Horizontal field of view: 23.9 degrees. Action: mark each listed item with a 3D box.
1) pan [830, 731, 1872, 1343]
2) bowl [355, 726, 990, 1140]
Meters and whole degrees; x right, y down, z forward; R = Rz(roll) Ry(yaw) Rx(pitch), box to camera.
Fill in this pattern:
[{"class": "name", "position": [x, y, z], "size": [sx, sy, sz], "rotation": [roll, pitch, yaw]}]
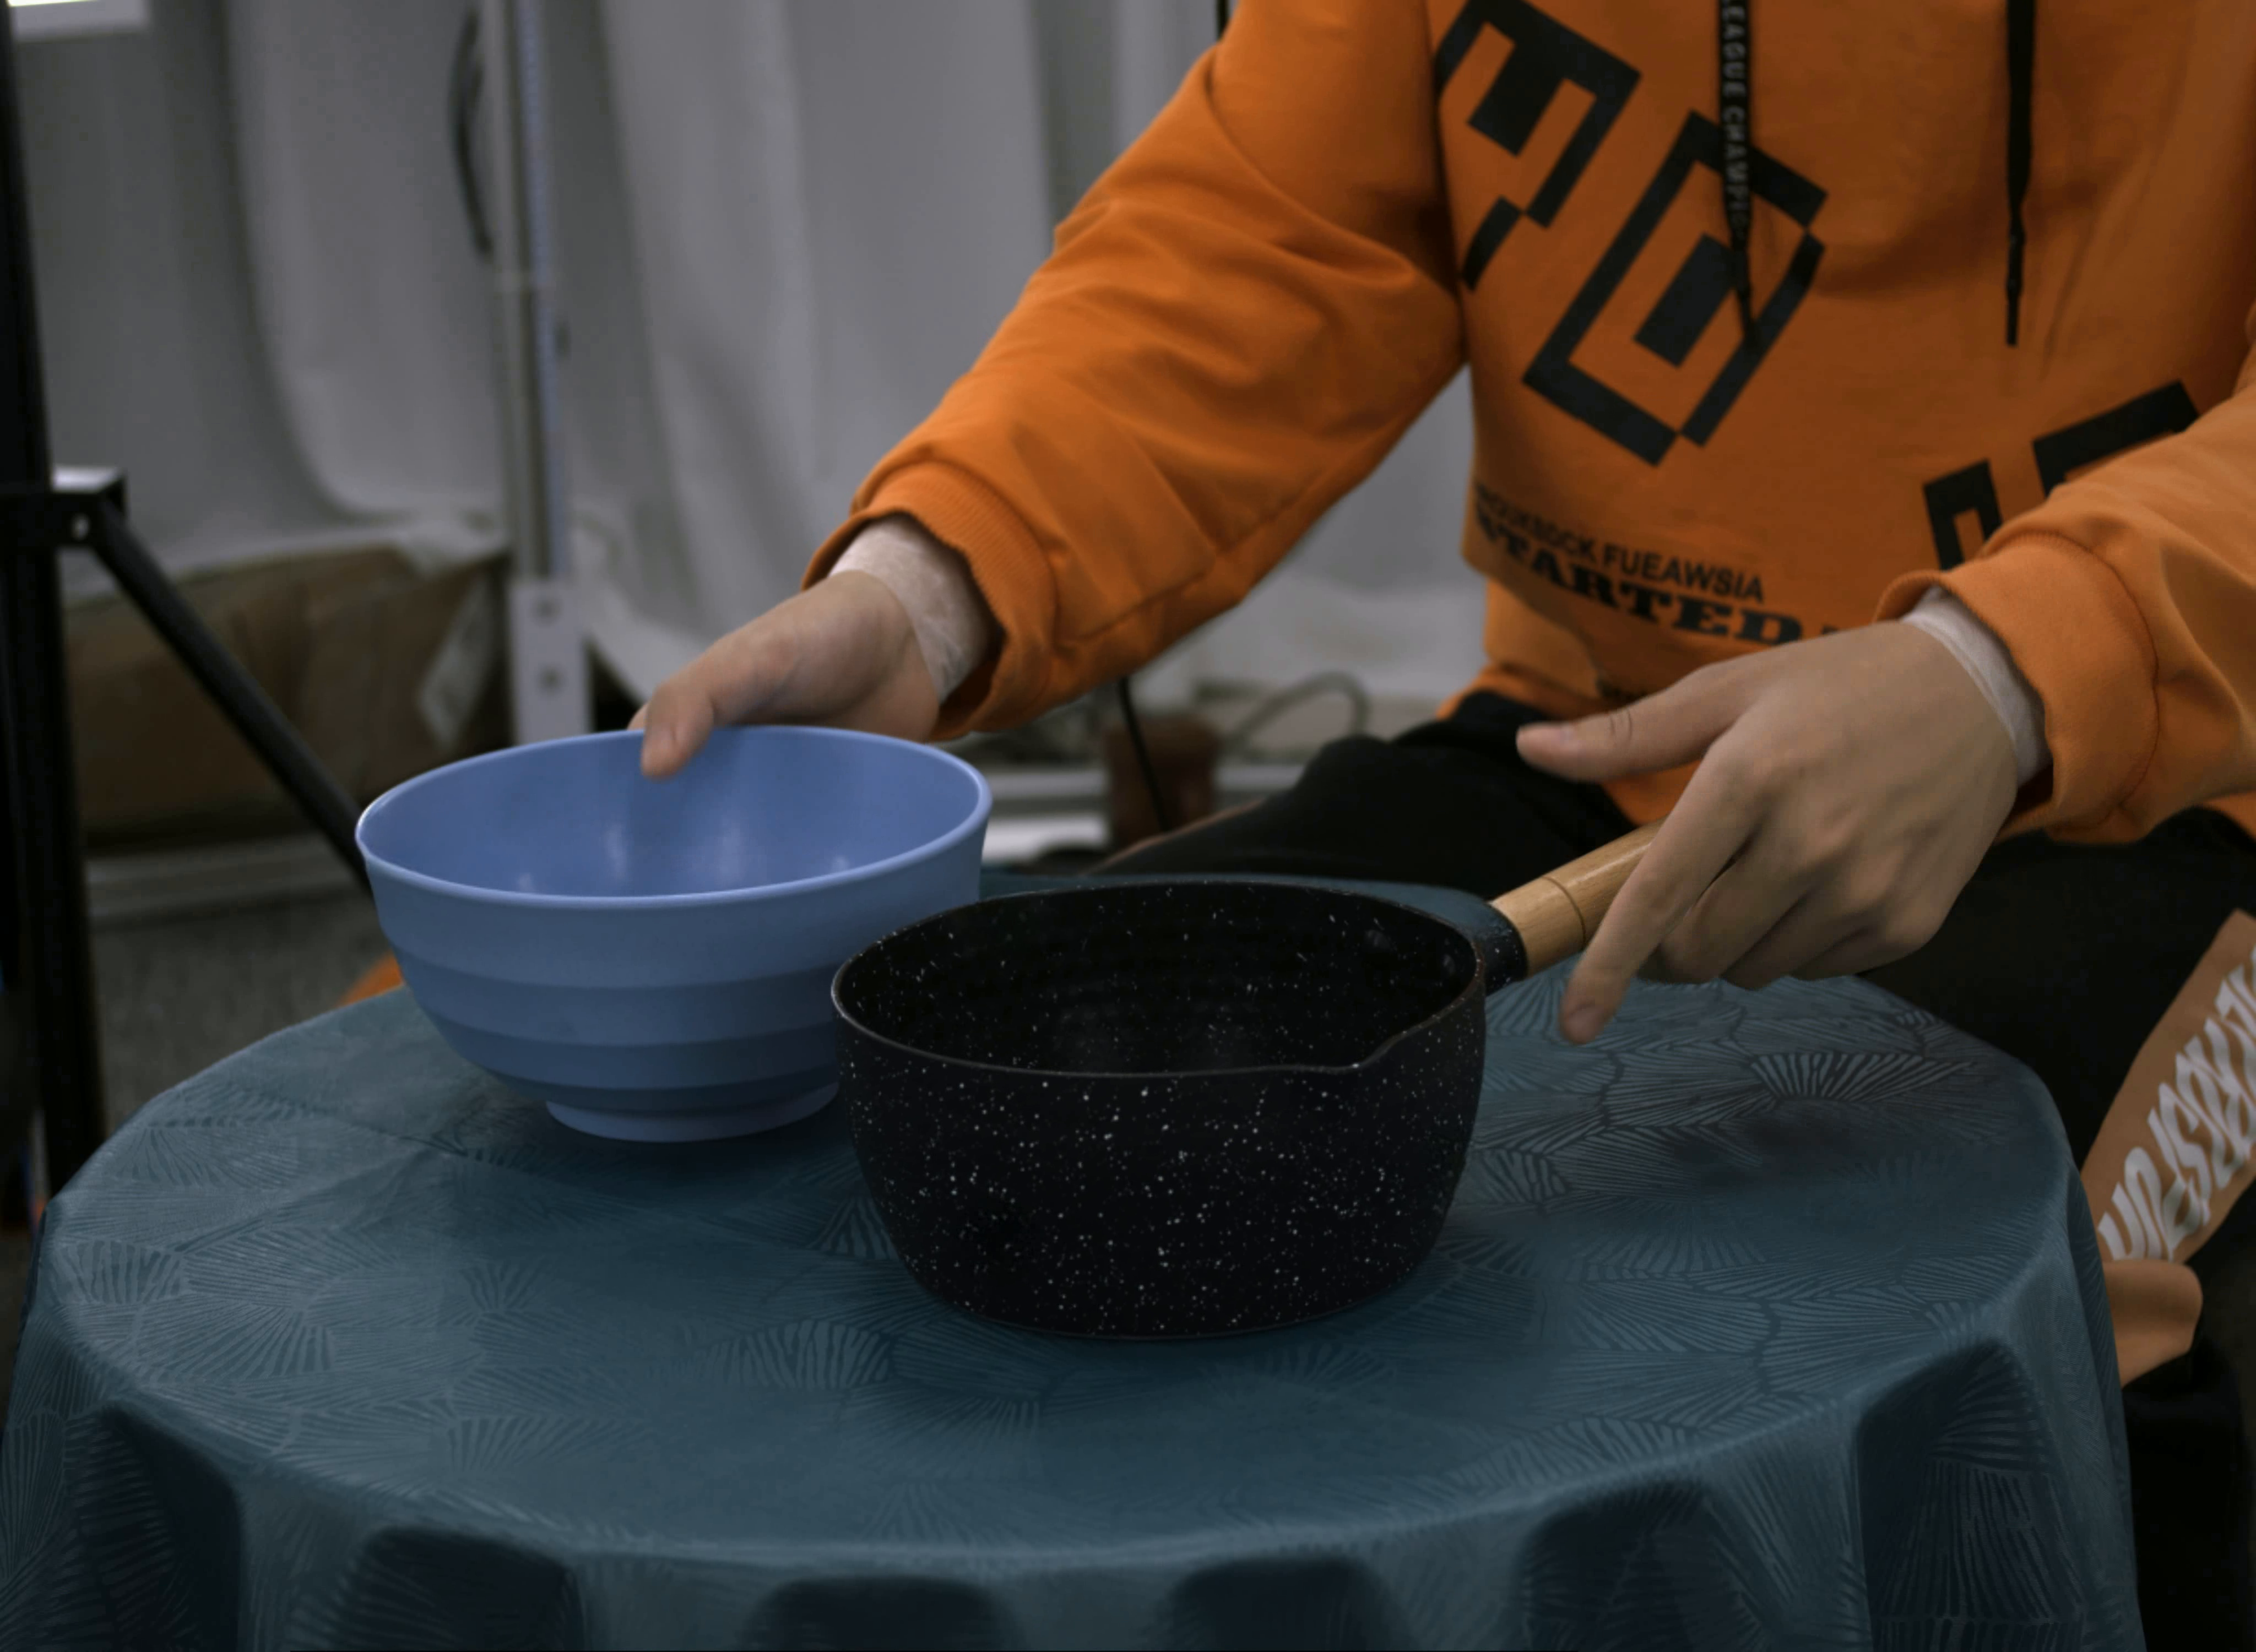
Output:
[{"class": "pan", "position": [0.076, 0.056, 1.533], "size": [0.335, 0.108, 0.212], "rotation": [-13, 17, -29]}, {"class": "bowl", "position": [-0.138, 0.038, 1.653], "size": [0.195, 0.095, 0.197], "rotation": [-4, 16, 0]}]
